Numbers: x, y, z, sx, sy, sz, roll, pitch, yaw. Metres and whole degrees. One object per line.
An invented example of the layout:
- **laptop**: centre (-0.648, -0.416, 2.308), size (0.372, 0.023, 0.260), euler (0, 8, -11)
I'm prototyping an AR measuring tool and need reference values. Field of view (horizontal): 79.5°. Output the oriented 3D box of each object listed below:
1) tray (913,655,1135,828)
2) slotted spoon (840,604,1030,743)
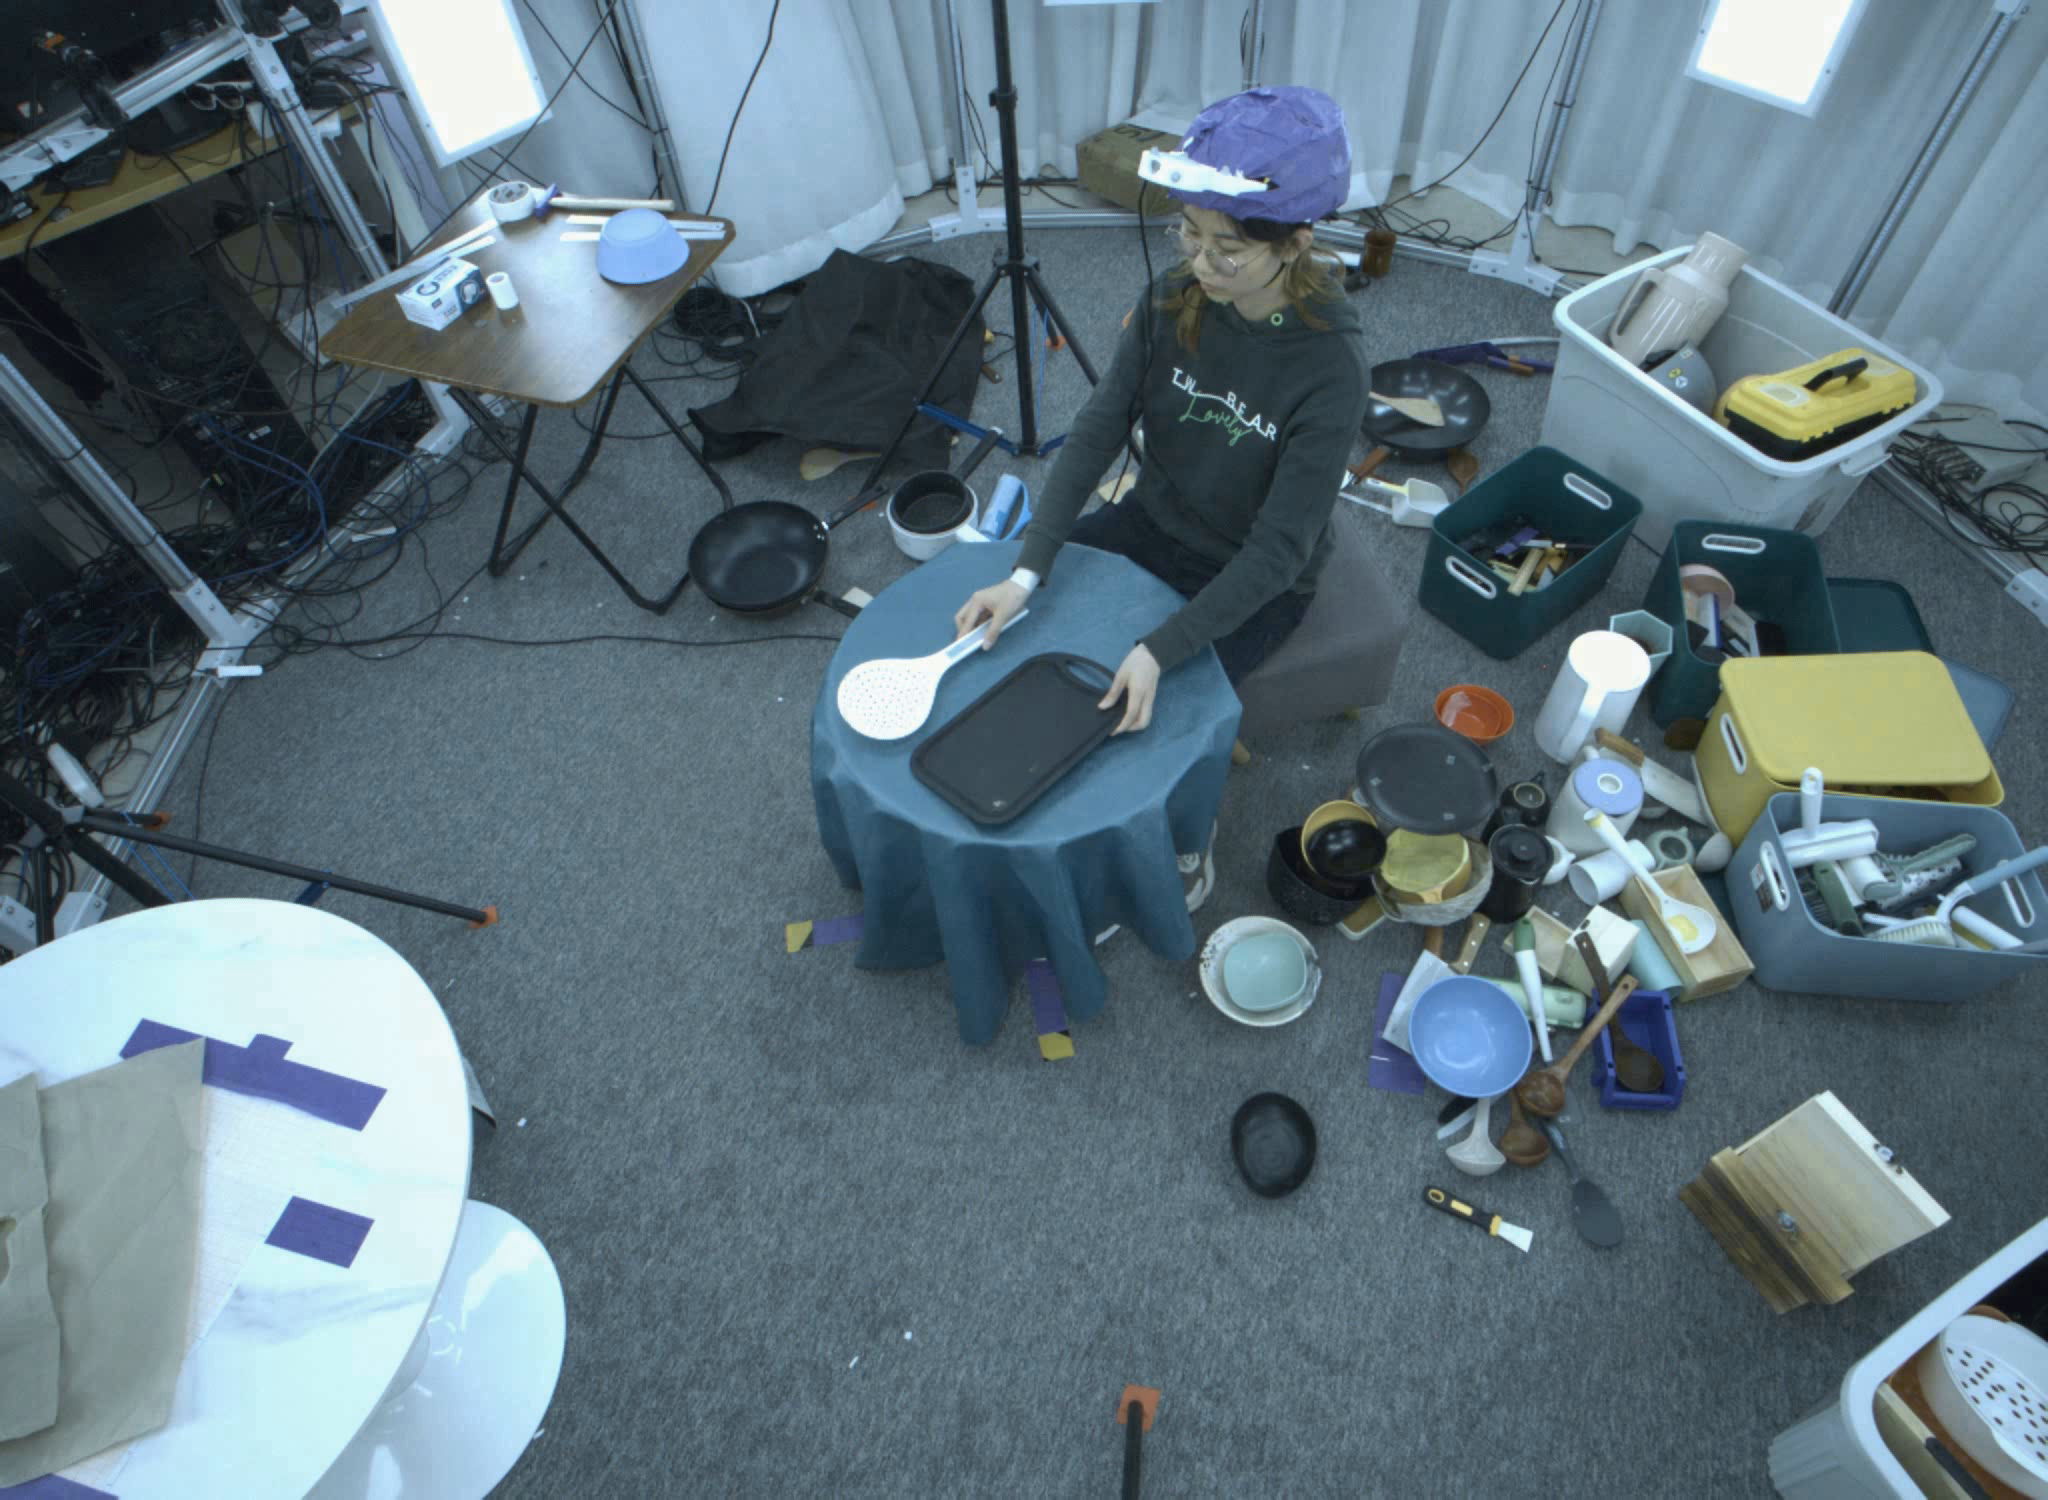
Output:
- **tray**: centre (0.005, -0.025, 1.793), size (0.327, 0.010, 0.206), euler (-40, 55, -23)
- **slotted spoon**: centre (-0.126, -0.126, 1.857), size (0.352, 0.046, 0.134), euler (-38, 76, -22)
